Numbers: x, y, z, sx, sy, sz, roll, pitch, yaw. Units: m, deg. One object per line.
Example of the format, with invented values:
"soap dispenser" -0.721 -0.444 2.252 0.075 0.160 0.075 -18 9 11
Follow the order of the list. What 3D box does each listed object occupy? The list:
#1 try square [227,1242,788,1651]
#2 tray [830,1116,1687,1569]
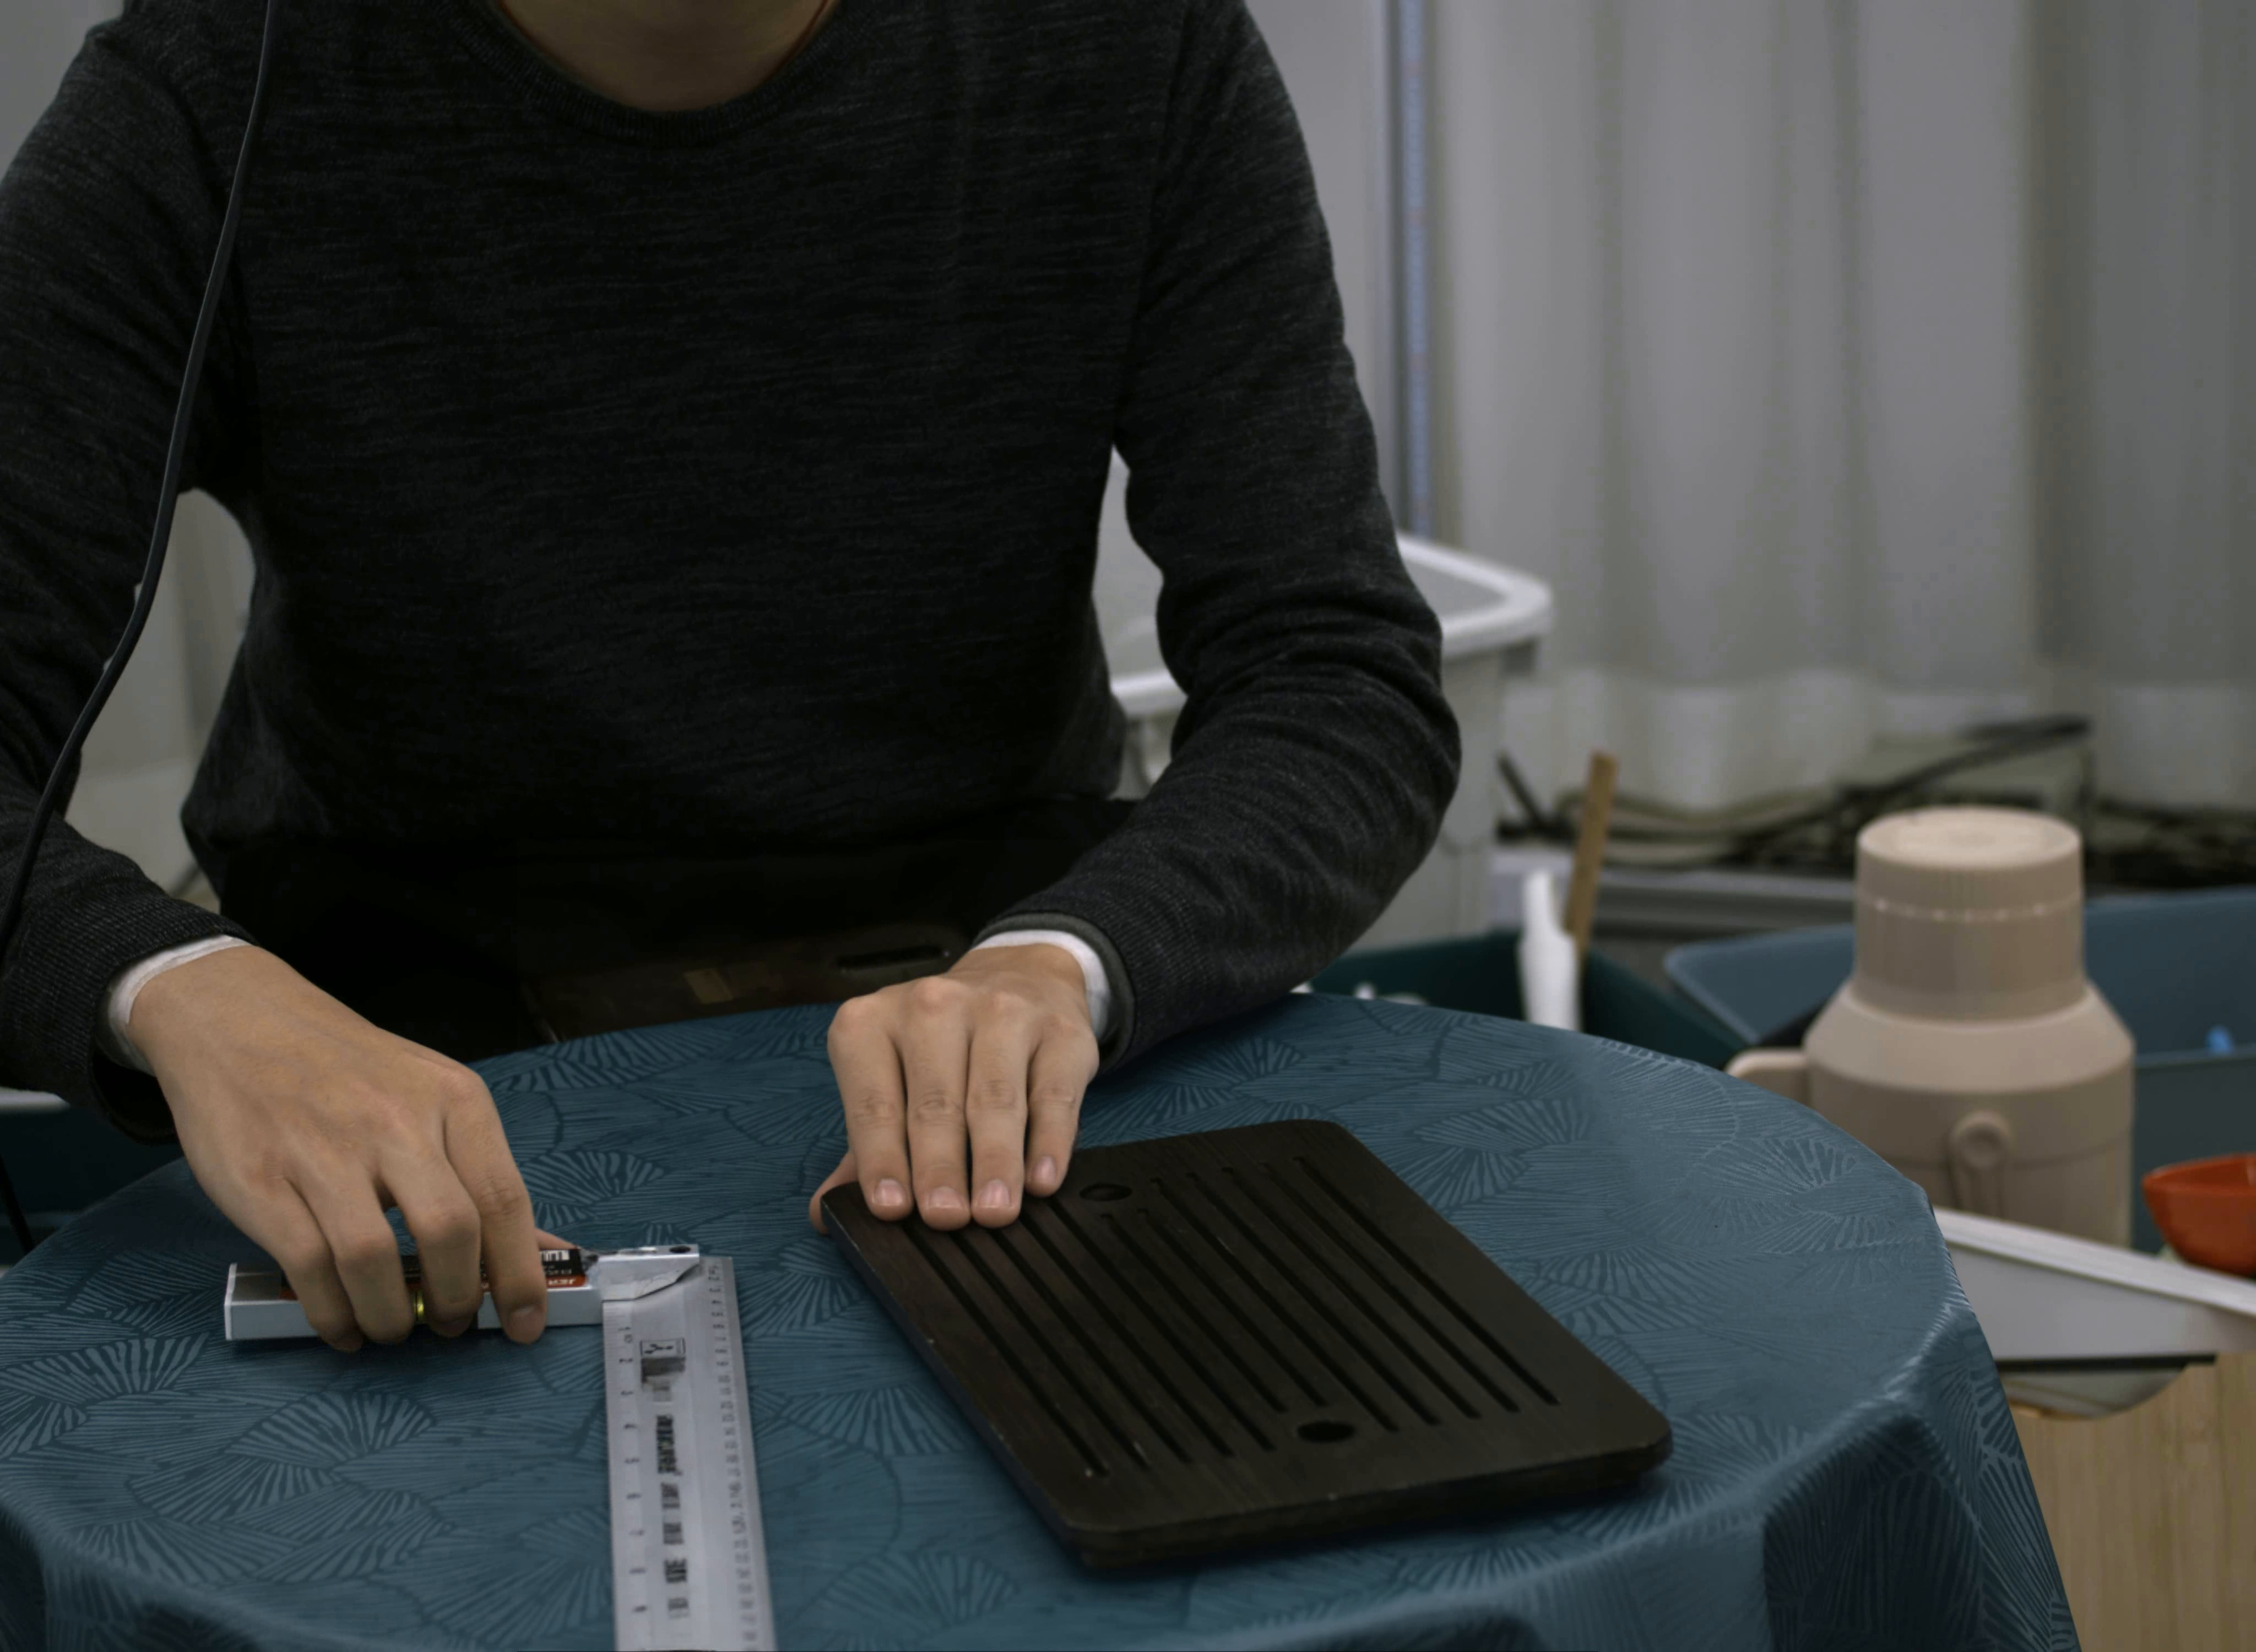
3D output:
"try square" -0.176 0.175 1.500 0.151 0.016 0.315 -3 16 -6
"tray" 0.029 0.143 1.564 0.169 0.018 0.308 -7 15 -14
